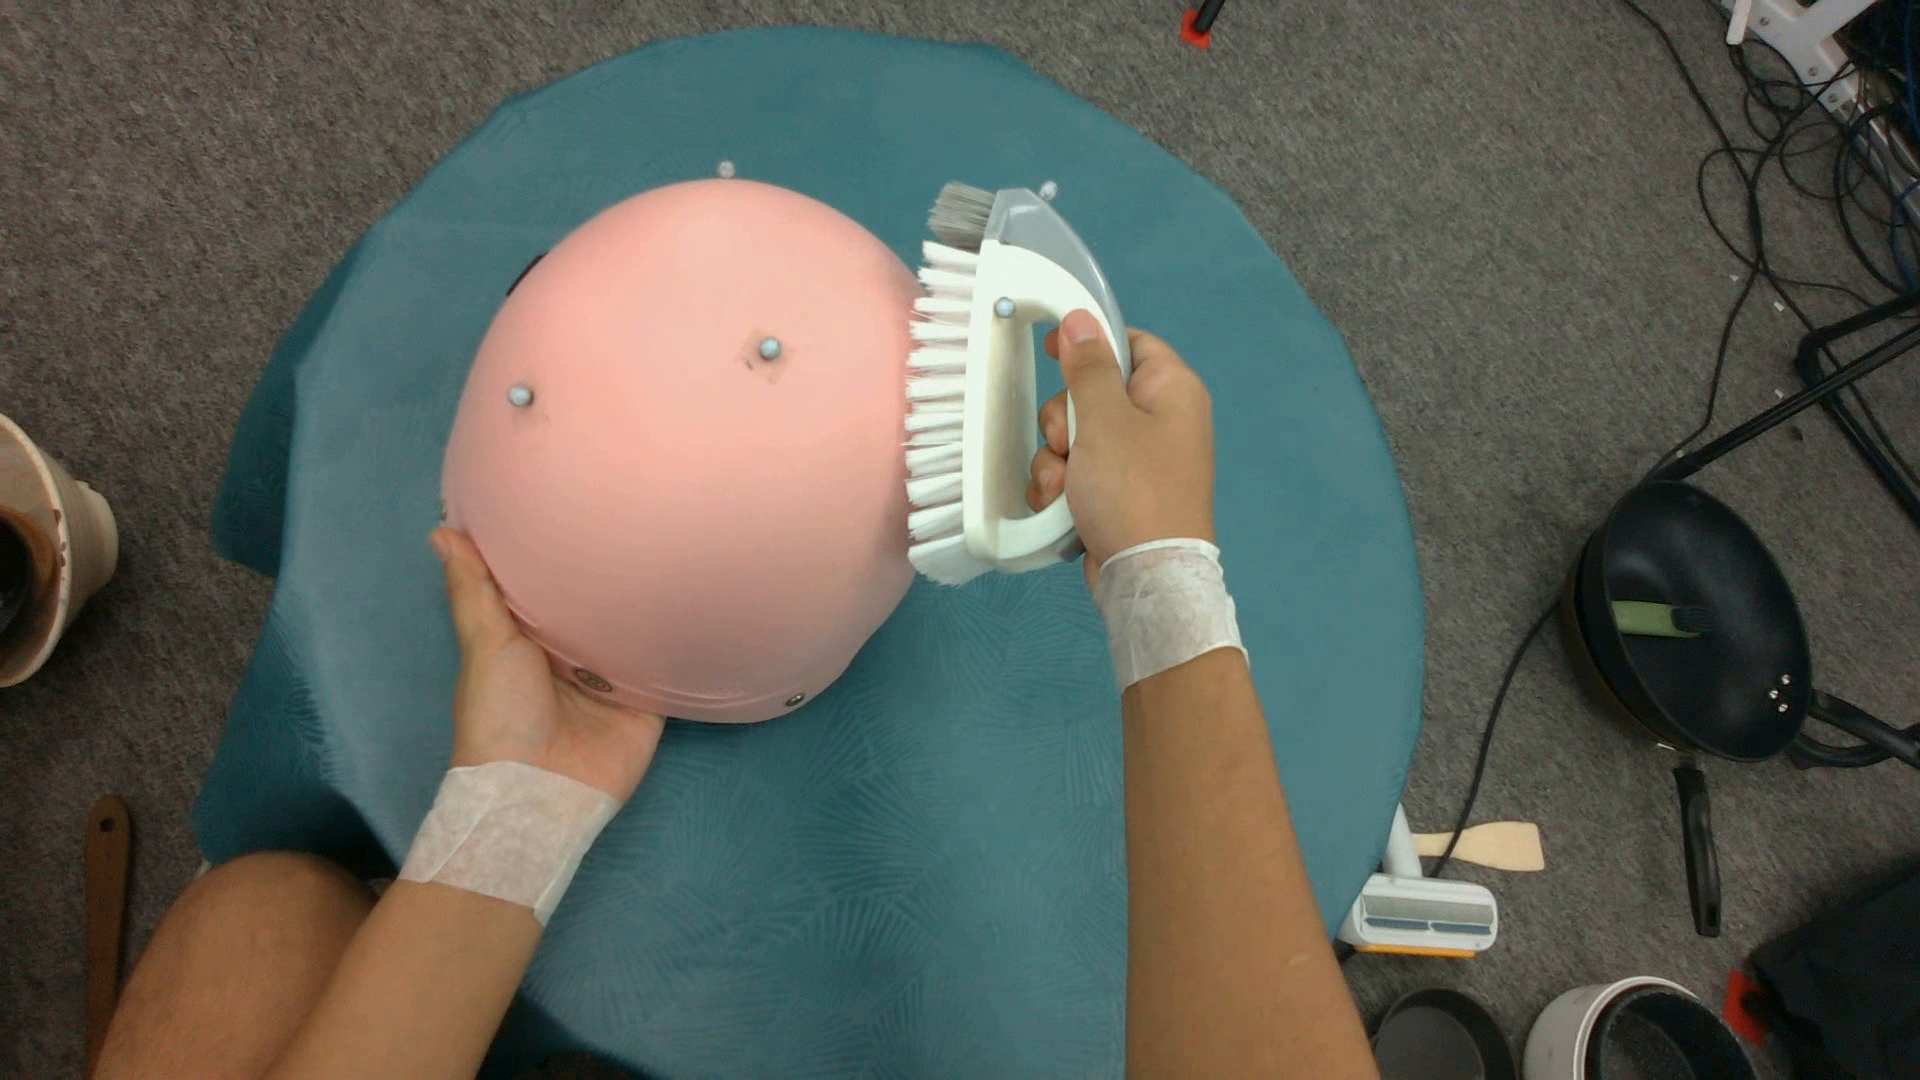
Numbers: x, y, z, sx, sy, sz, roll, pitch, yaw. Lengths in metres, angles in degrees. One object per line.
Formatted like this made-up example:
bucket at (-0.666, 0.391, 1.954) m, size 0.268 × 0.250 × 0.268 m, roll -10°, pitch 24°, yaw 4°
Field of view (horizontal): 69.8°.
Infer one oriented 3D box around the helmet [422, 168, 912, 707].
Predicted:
helmet at (-0.107, -0.069, 0.611) m, size 0.234 × 0.158 × 0.267 m, roll 28°, pitch 58°, yaw -8°

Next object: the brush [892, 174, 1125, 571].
brush at (0.020, -0.078, 0.565) m, size 0.094 × 0.061 × 0.176 m, roll -7°, pitch 72°, yaw 21°
